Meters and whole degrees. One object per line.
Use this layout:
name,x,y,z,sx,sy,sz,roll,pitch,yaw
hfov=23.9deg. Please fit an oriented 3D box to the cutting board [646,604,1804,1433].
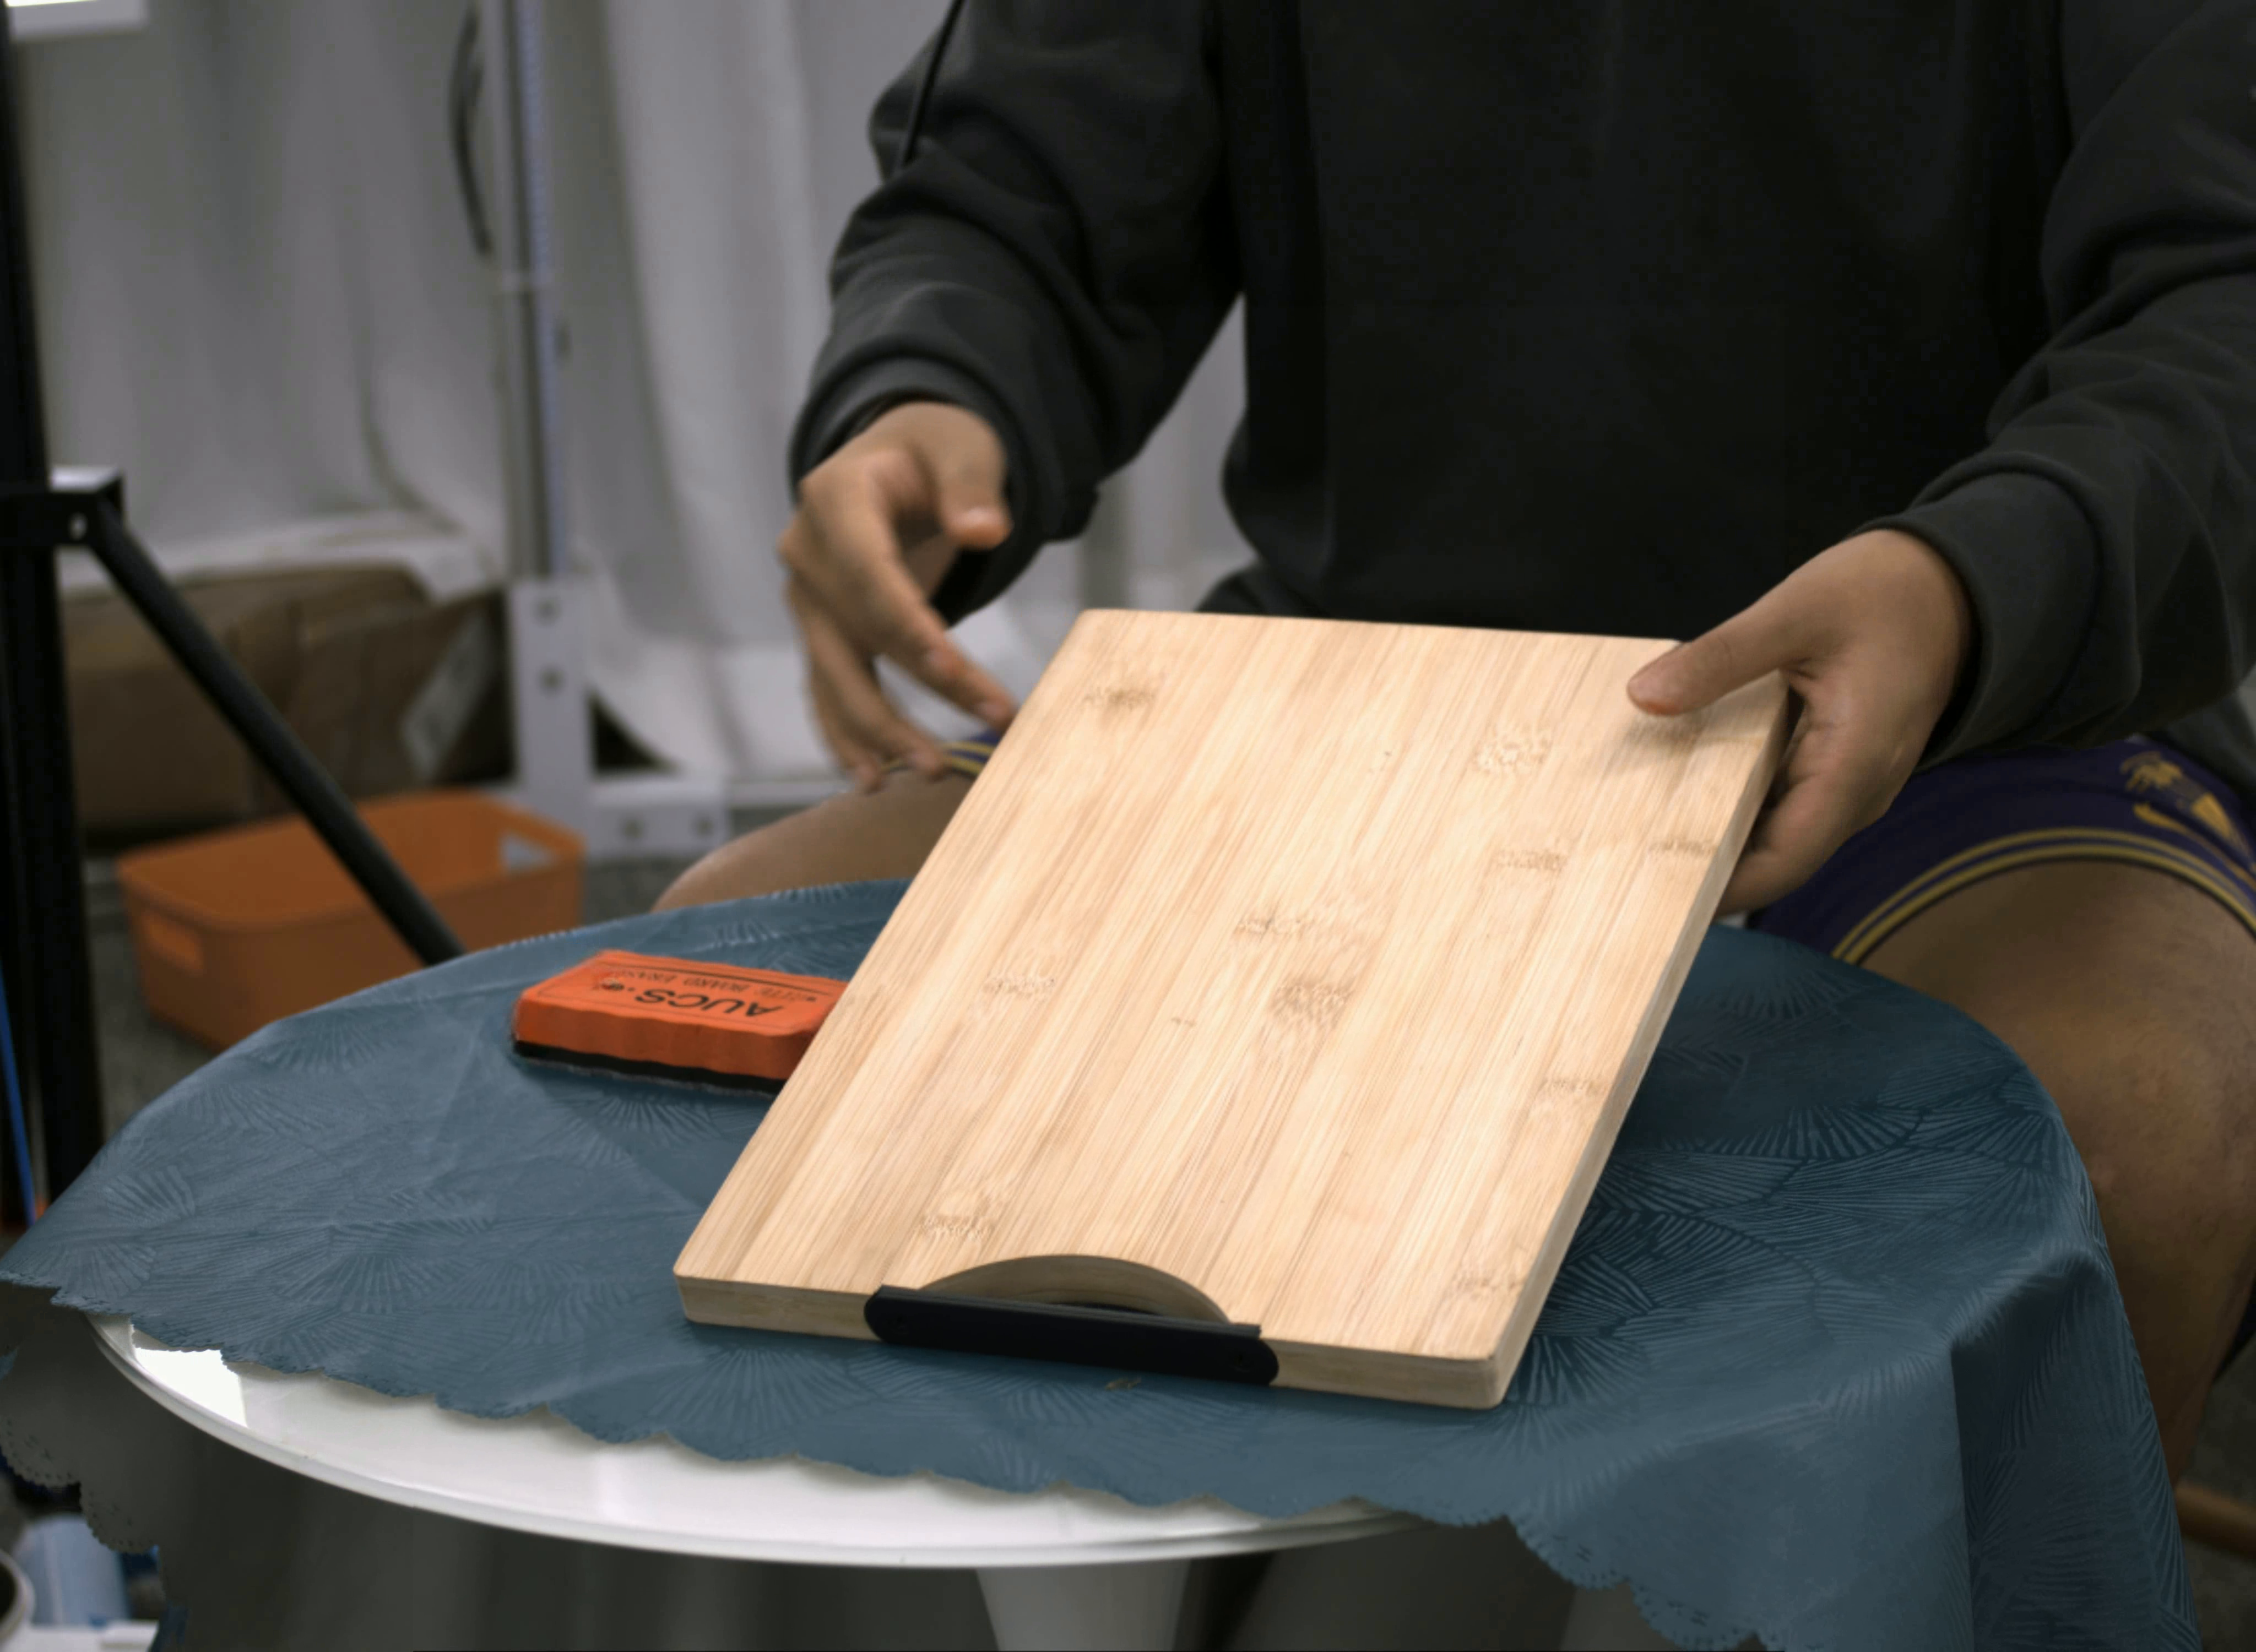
cutting board,0.038,0.045,1.547,0.254,0.023,0.347,3,37,22

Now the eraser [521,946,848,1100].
eraser,-0.136,0.062,1.699,0.110,0.023,0.058,7,19,31
